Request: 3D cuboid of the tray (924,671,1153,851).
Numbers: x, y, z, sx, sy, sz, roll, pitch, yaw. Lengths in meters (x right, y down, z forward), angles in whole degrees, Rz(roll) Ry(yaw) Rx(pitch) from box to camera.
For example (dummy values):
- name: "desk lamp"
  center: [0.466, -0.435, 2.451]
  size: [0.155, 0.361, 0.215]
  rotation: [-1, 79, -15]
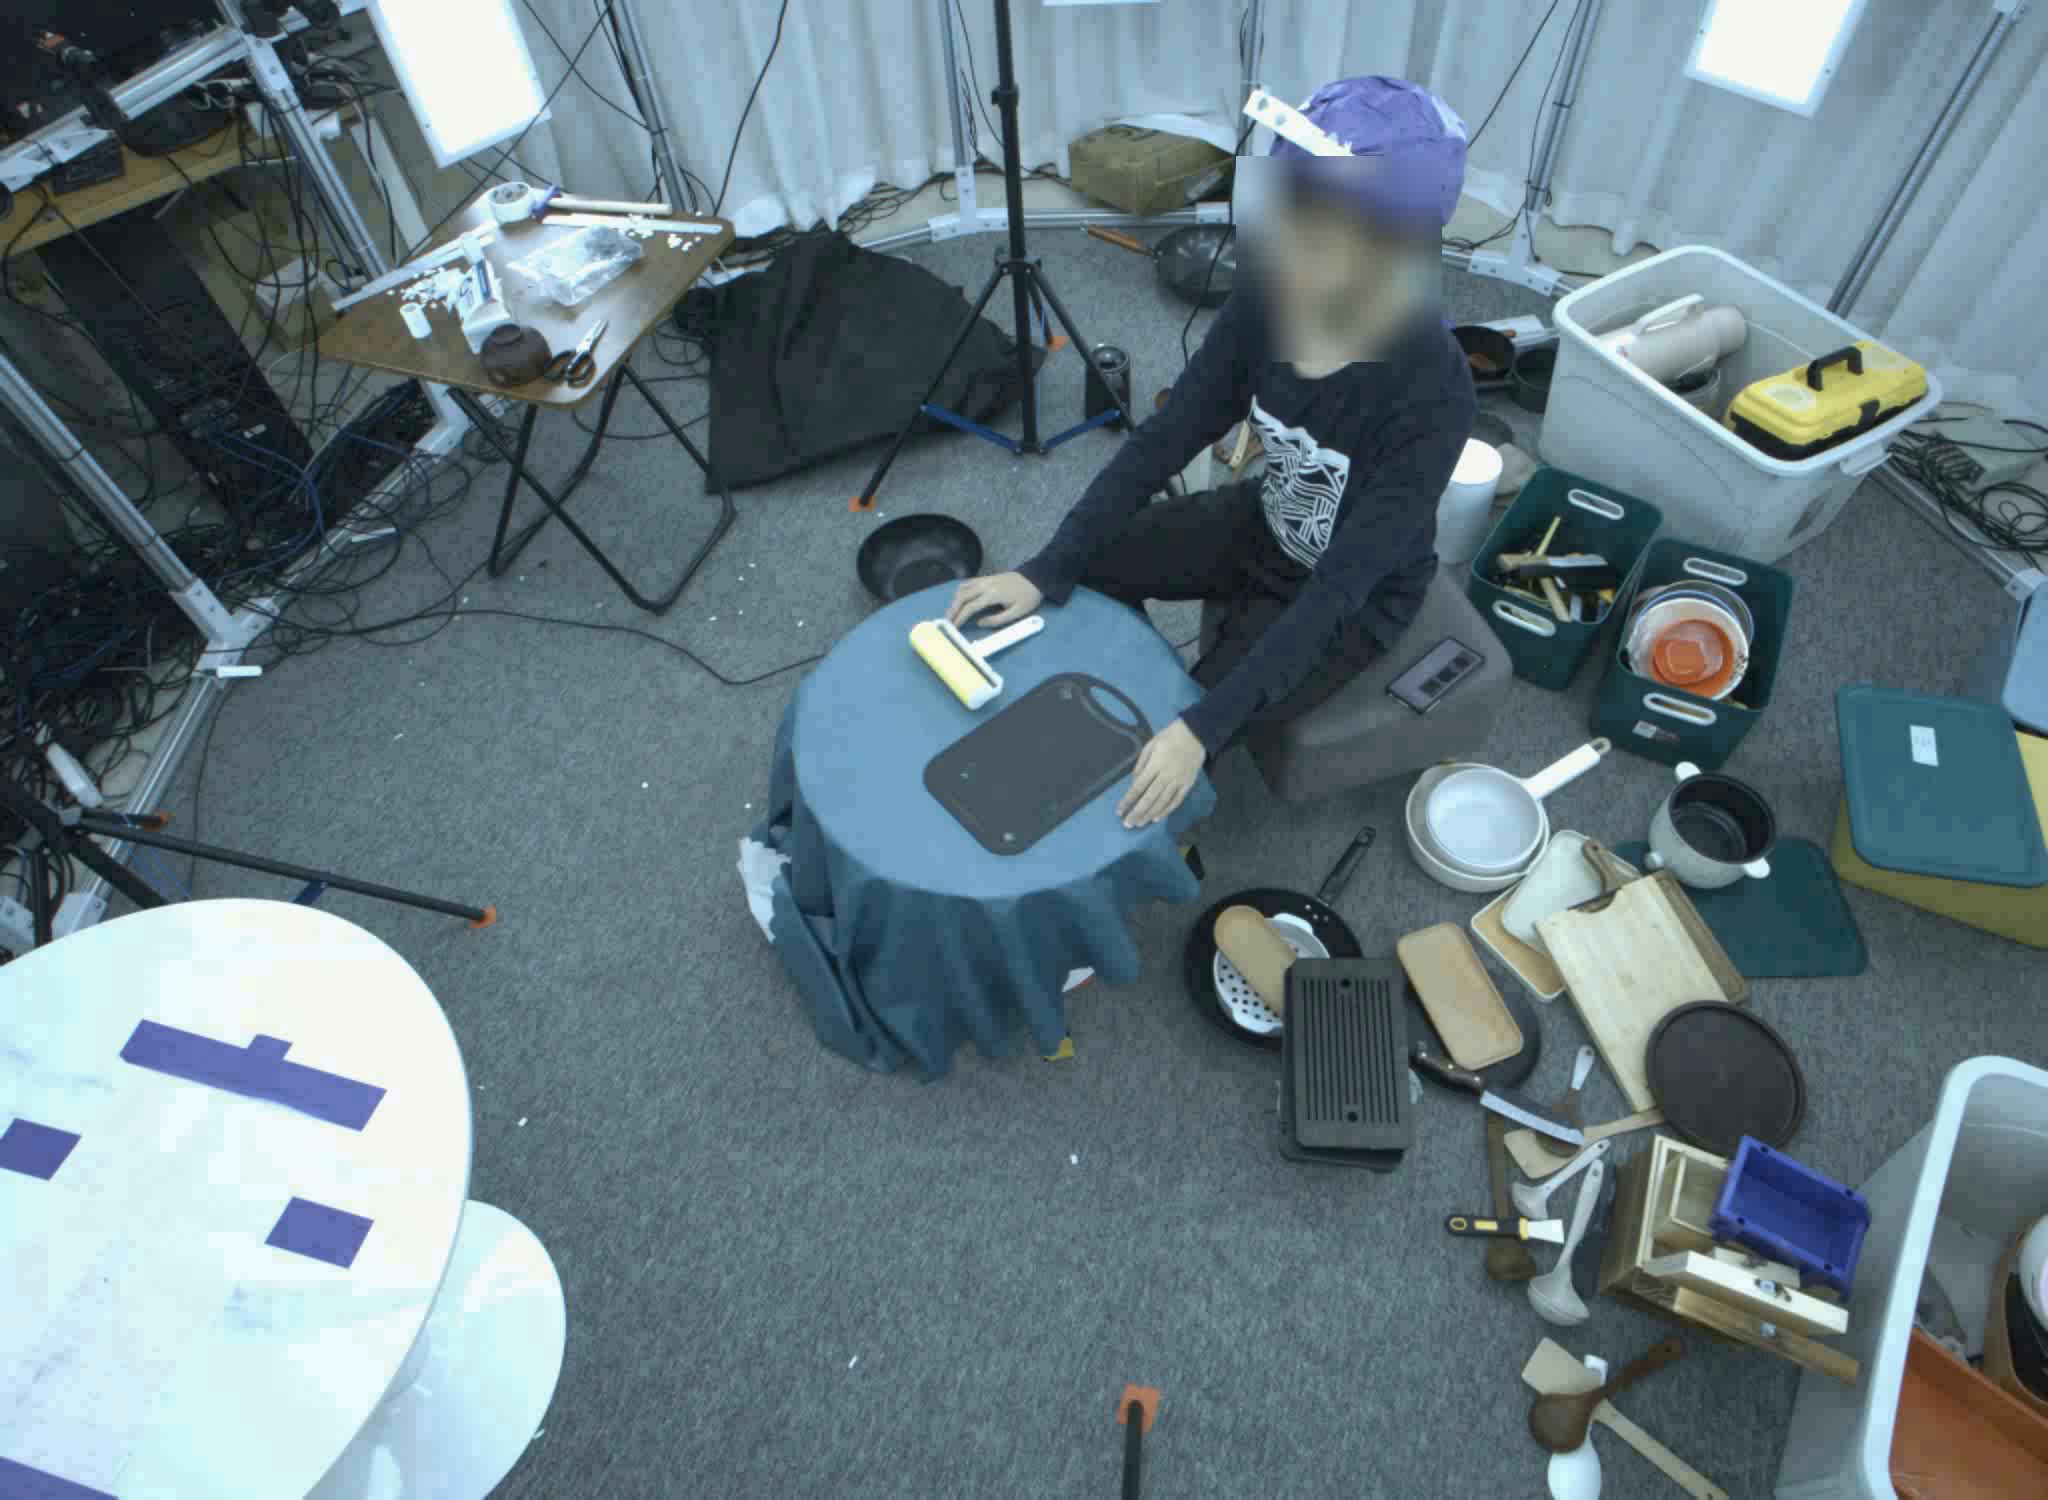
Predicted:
- name: "tray"
  center: [0.028, 0.004, 1.788]
  size: [0.328, 0.010, 0.207]
  rotation: [-35, 61, -22]

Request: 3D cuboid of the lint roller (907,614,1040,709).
- name: "lint roller"
  center: [-0.056, -0.167, 1.885]
  size: [0.193, 0.052, 0.171]
  rotation: [-35, 61, -18]
